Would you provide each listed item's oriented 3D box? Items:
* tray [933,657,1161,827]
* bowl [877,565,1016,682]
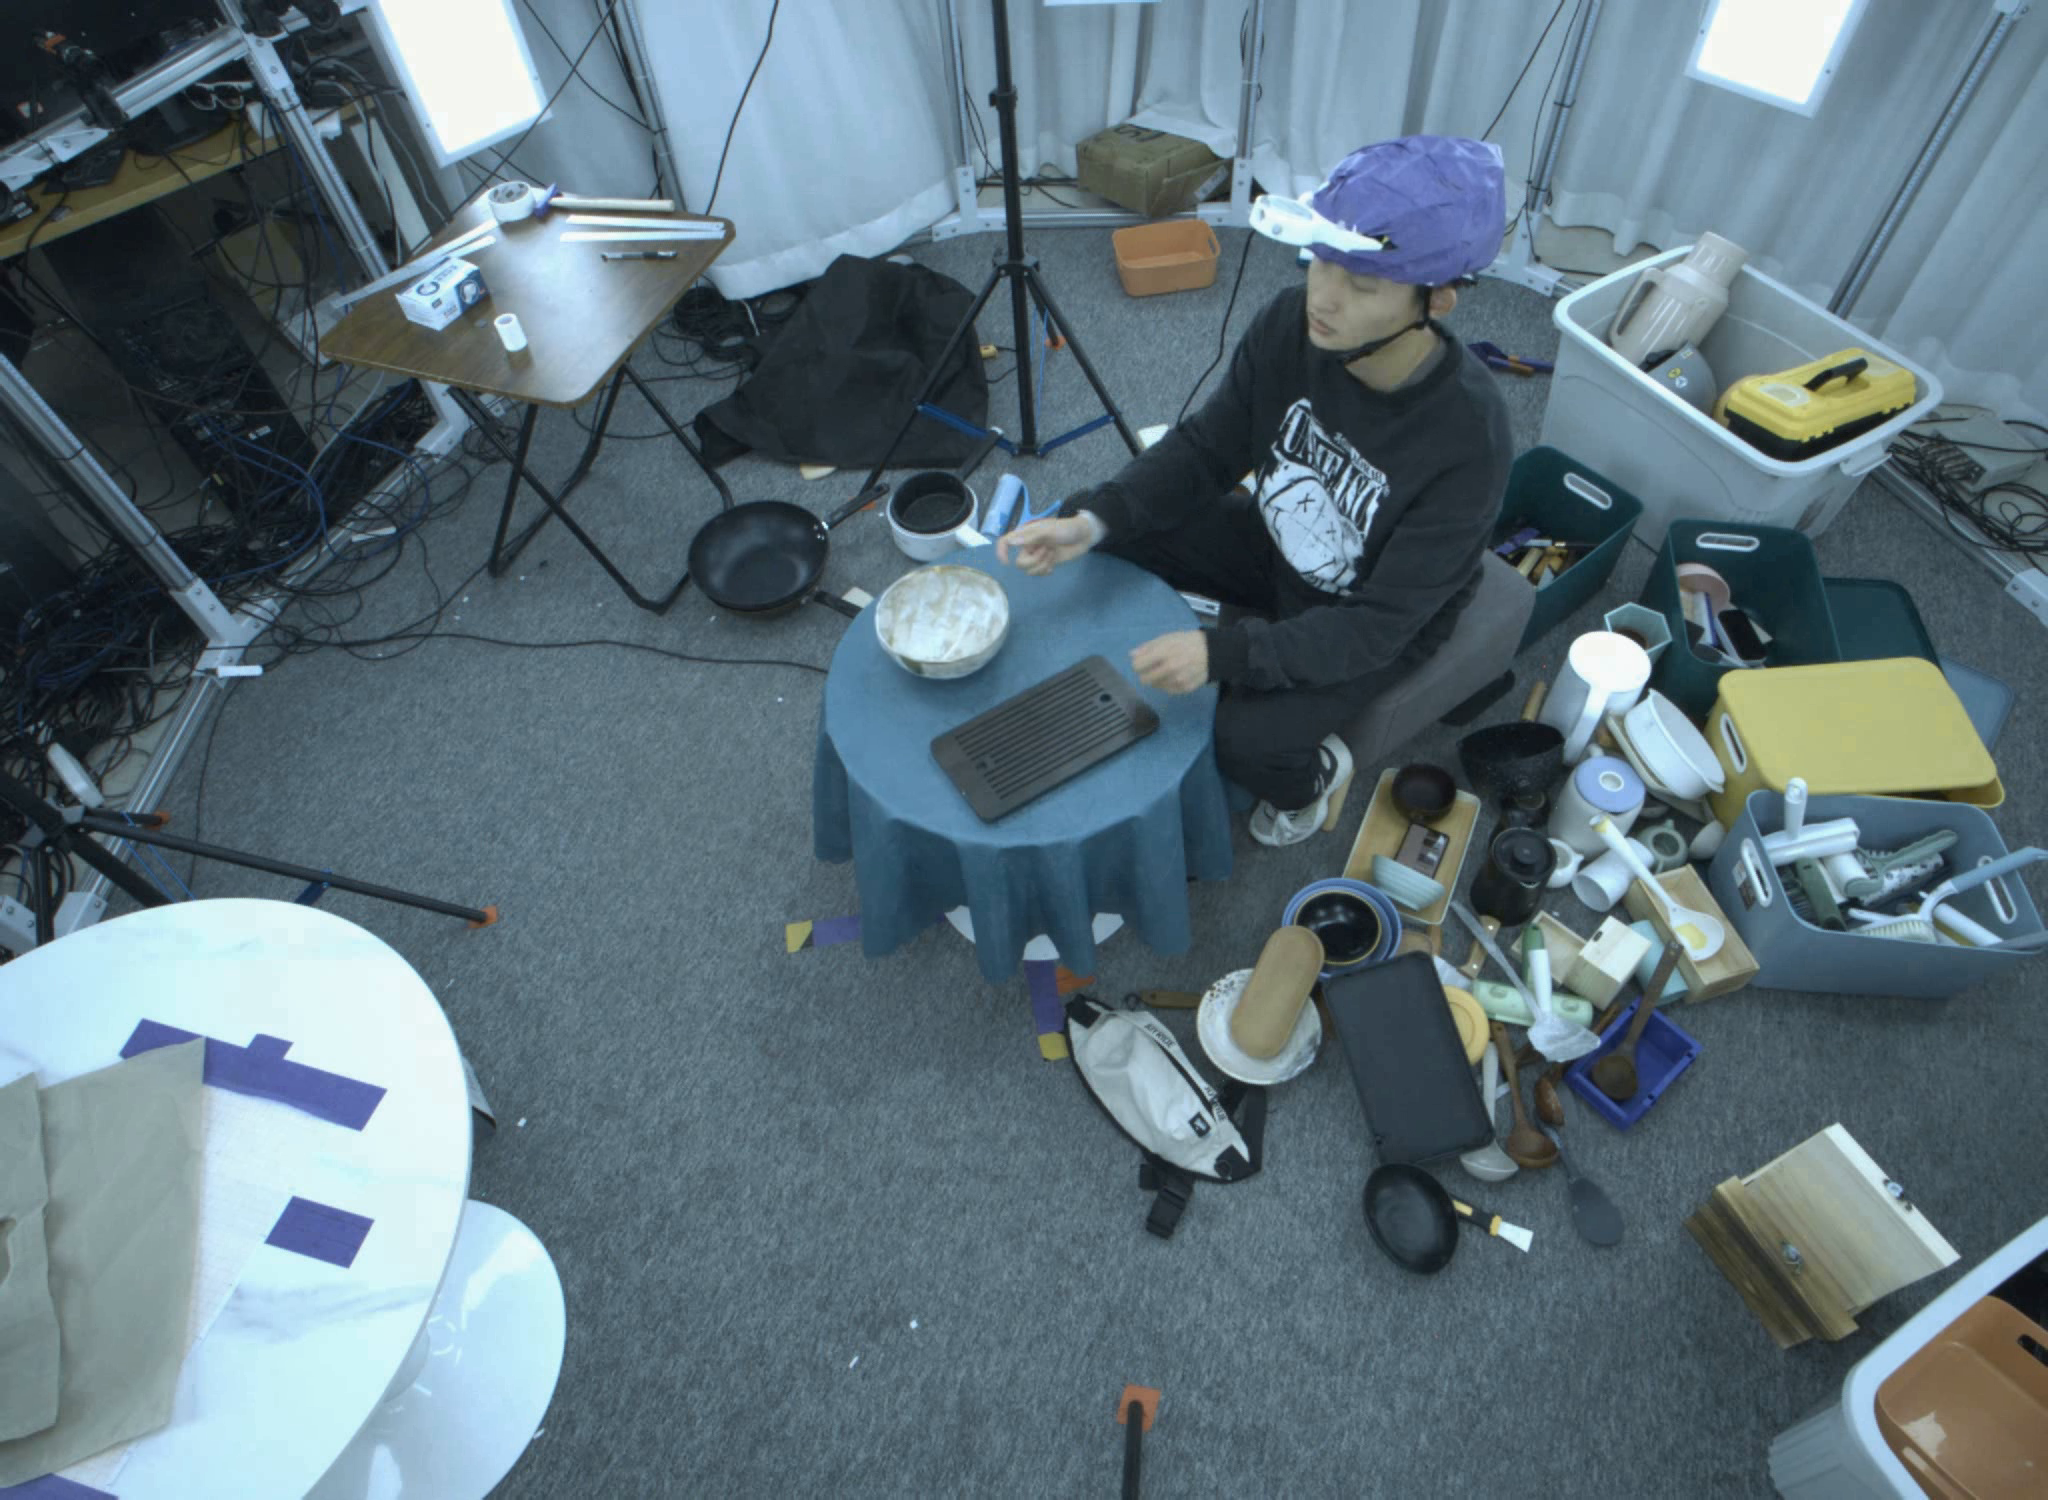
[{"bbox_3d":[0.034,-0.014,1.796,0.308,0.019,0.167,-29,59,-18],"label":"tray"},{"bbox_3d":[-0.114,-0.174,1.867,0.214,0.095,0.212,-1,54,2],"label":"bowl"}]
